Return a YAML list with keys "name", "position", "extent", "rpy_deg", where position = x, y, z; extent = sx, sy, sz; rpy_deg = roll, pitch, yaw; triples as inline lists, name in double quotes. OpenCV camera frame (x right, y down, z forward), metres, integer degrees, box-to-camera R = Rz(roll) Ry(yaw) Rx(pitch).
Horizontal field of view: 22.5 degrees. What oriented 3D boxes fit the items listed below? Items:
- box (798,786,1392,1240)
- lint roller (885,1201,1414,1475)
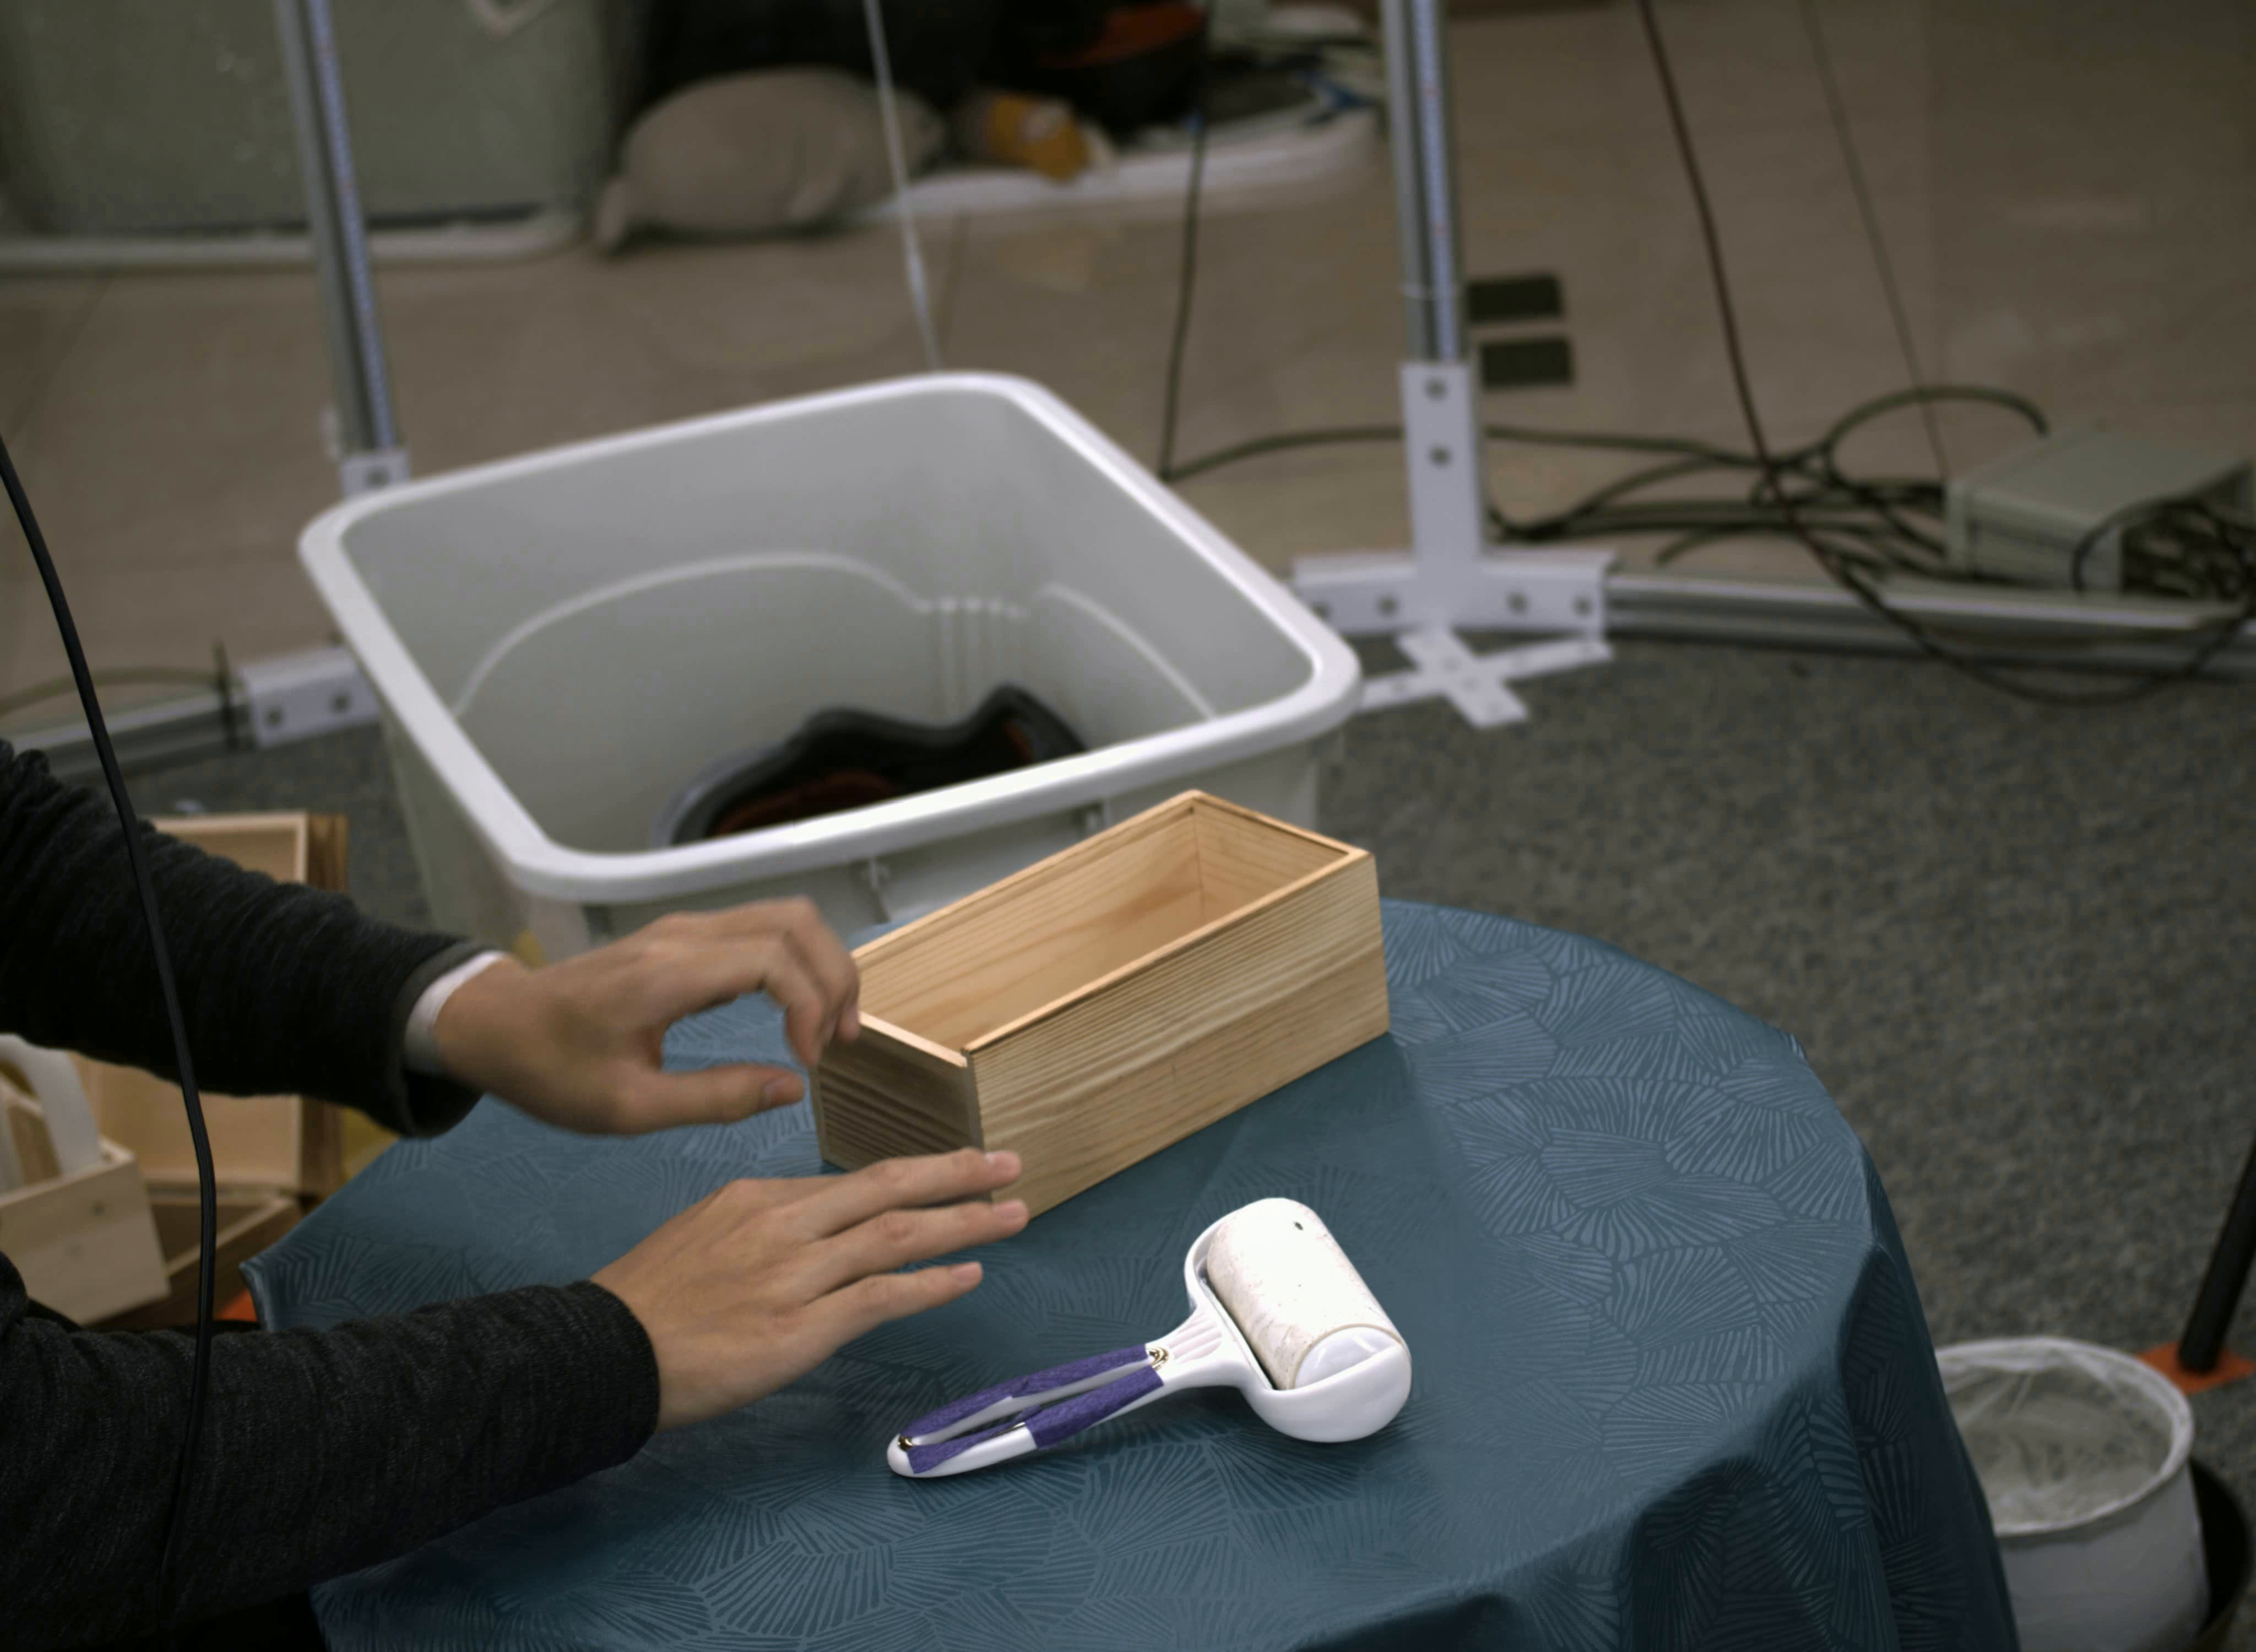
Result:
- name: "box"
  position: [-0.011, 0.070, 2.204]
  extent: [0.209, 0.081, 0.106]
  rpy_deg: [-27, 32, -35]
- name: "lint roller"
  position: [0.000, 0.186, 1.991]
  extent: [0.180, 0.051, 0.131]
  rpy_deg: [-10, 26, -11]
